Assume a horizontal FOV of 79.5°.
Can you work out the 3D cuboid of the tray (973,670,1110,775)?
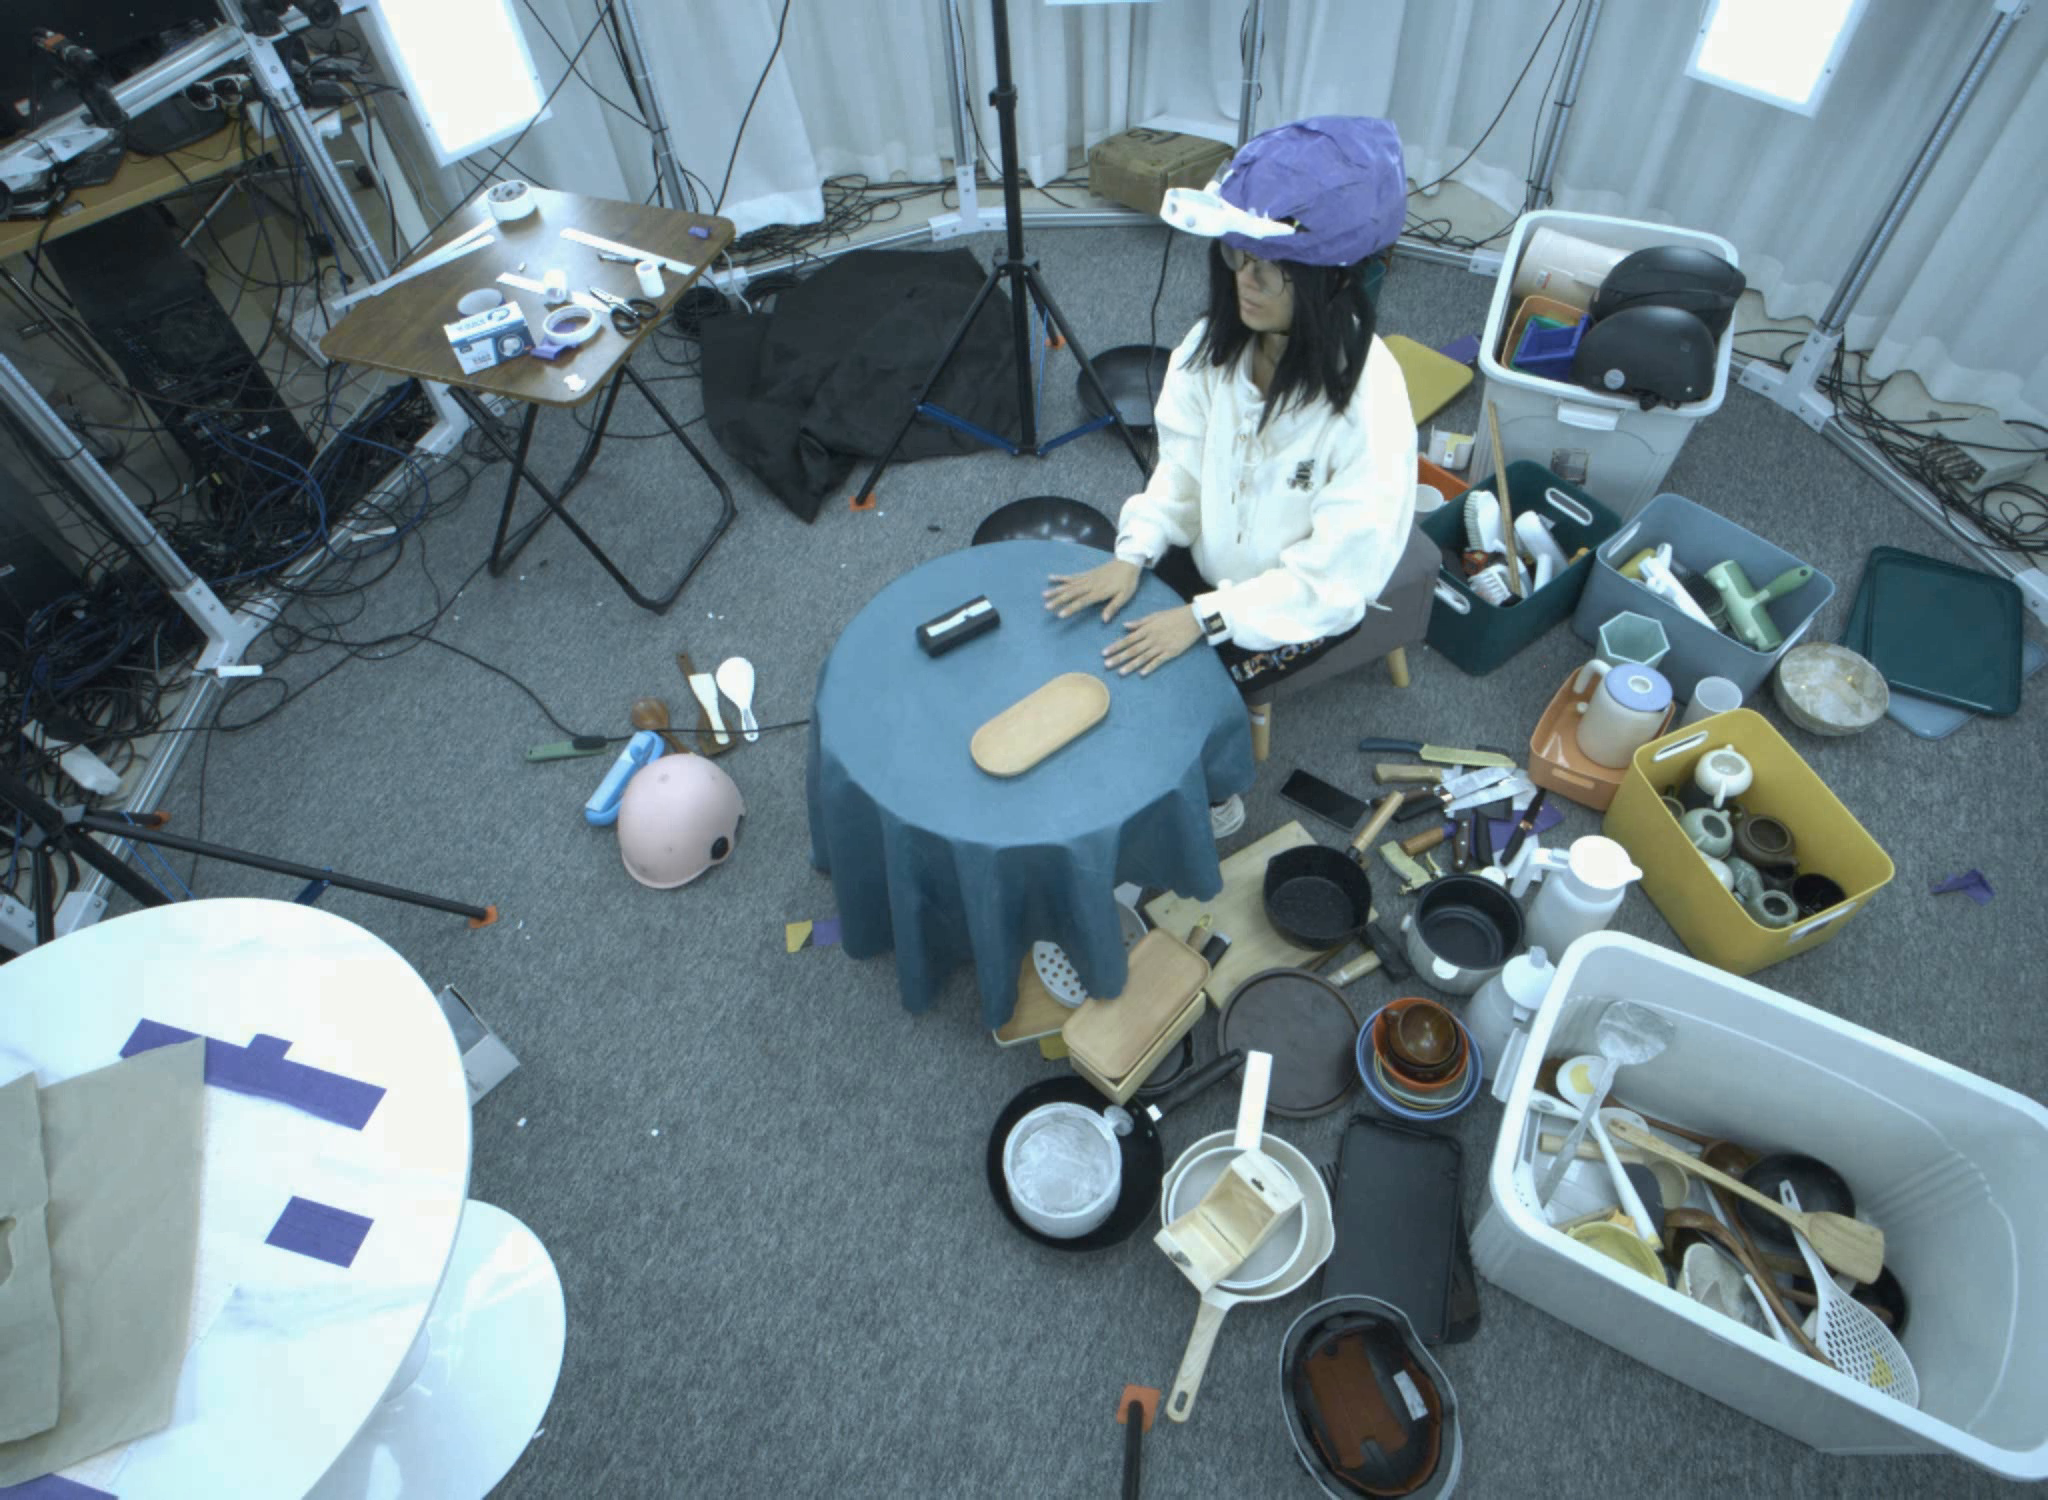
[{"bbox_3d":[0.027,-0.041,1.806,0.233,0.020,0.100,-35,61,-22],"label":"tray"}]

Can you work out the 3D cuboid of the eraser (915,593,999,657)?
[{"bbox_3d":[-0.105,-0.195,1.911,0.126,0.031,0.052,-30,65,-16],"label":"eraser"}]
